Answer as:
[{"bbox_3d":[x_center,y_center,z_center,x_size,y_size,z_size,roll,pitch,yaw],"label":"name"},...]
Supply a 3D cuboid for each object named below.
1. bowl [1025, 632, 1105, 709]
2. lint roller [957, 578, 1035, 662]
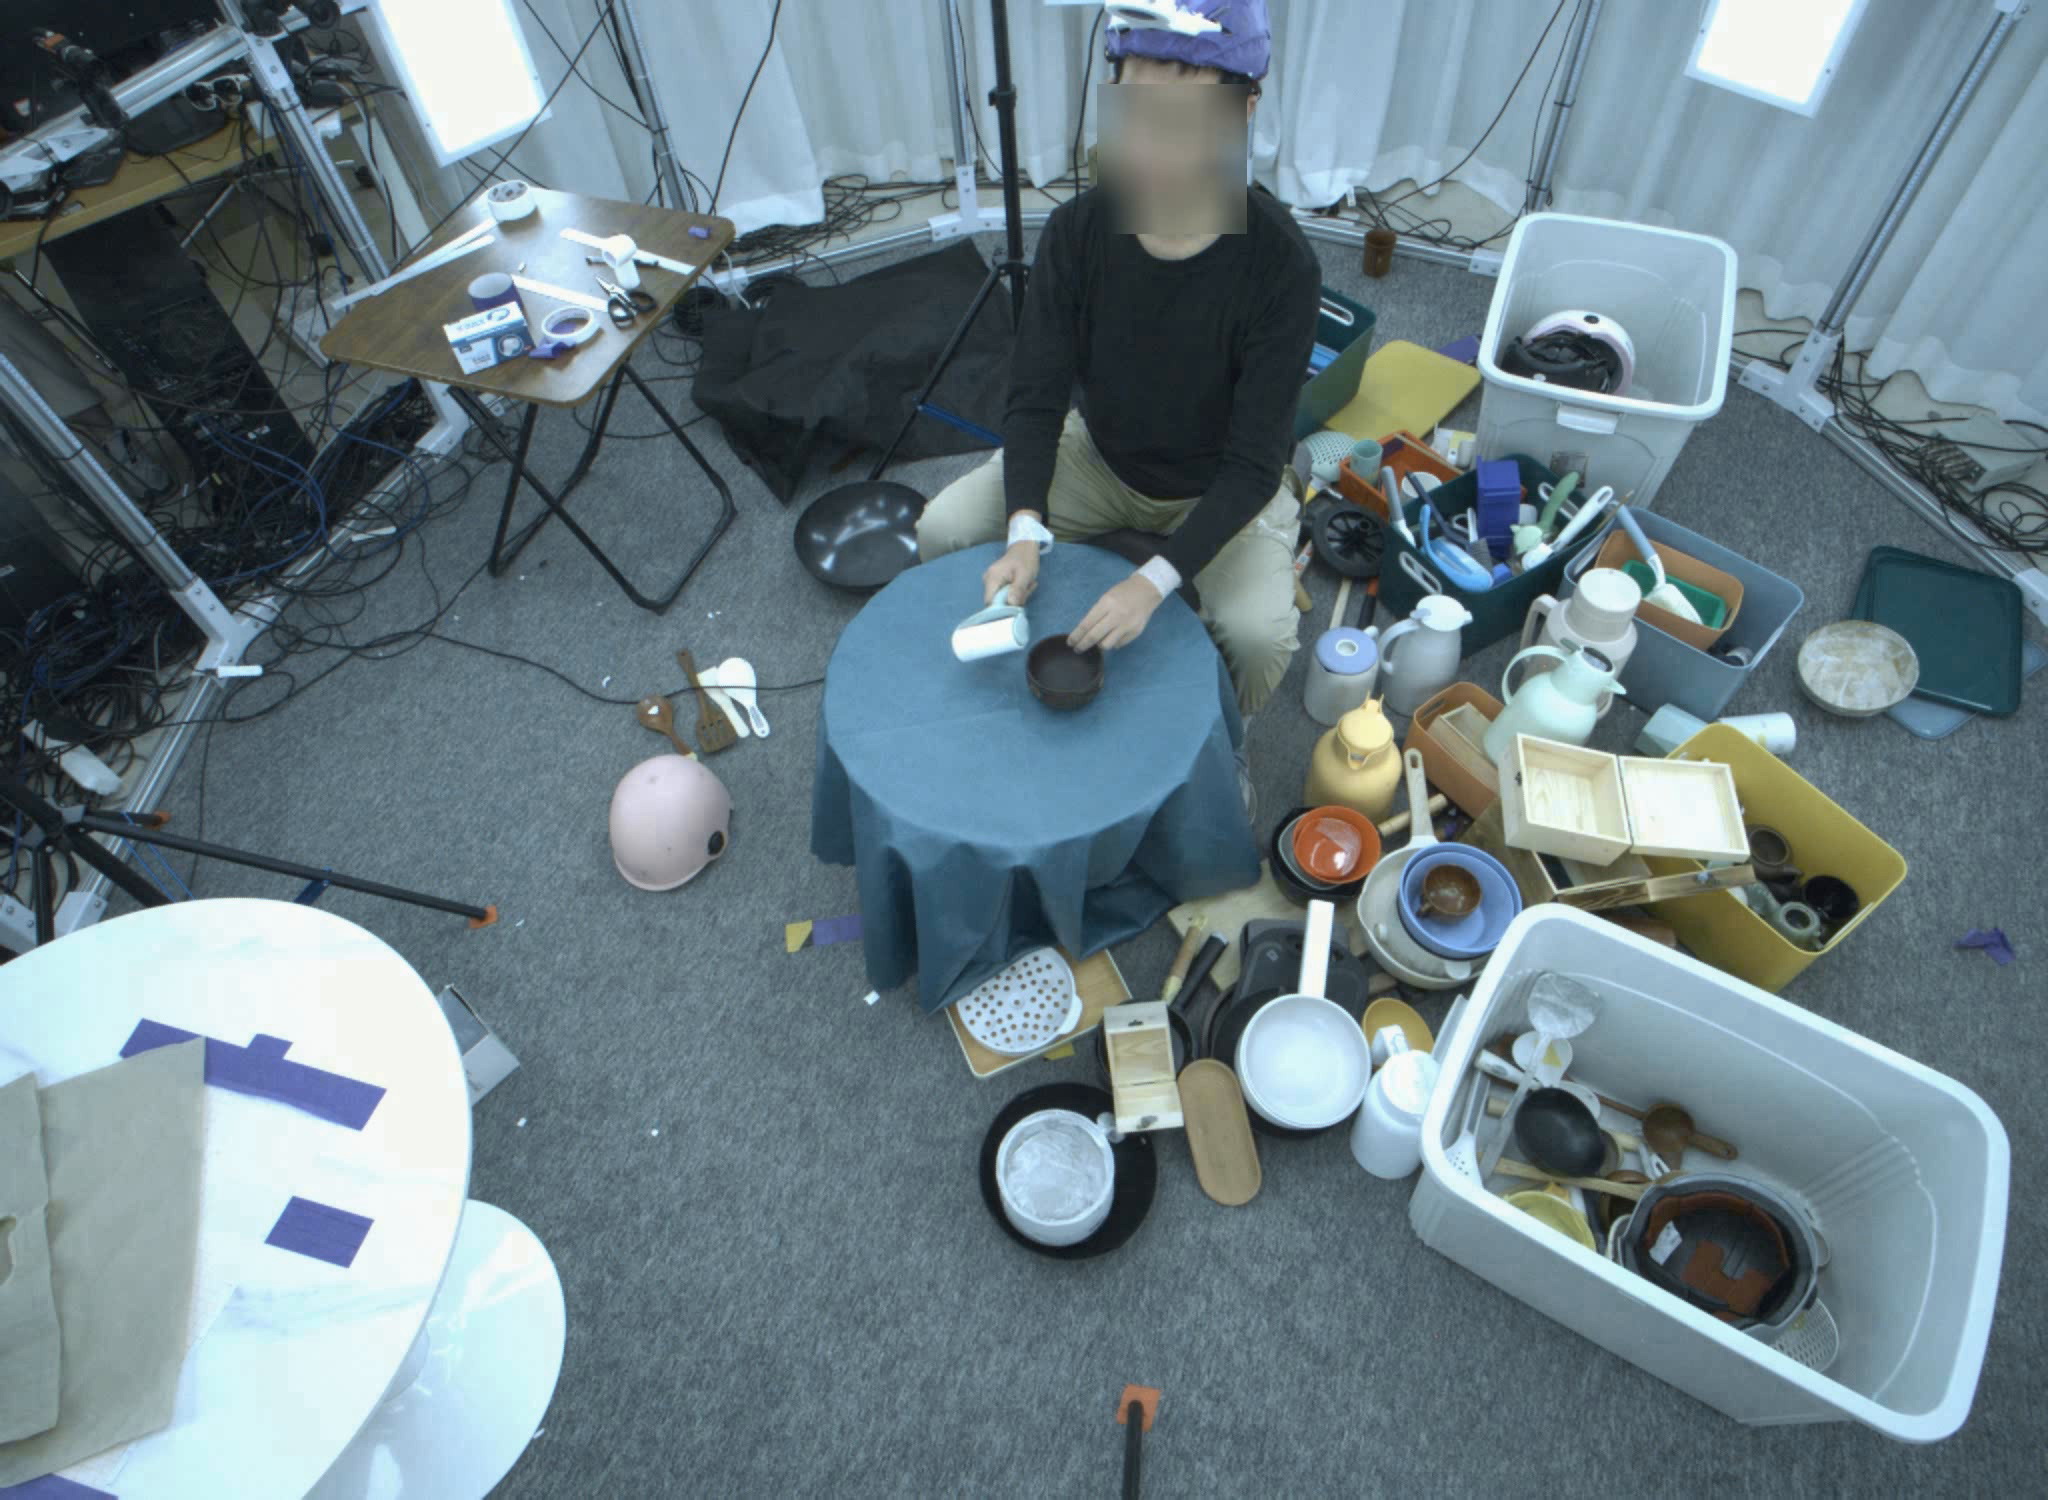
[{"bbox_3d":[0.061,-0.110,1.819,0.118,0.070,0.117,-1,54,2],"label":"bowl"},{"bbox_3d":[-0.025,-0.212,1.860,0.115,0.049,0.197,-11,39,27],"label":"lint roller"}]
